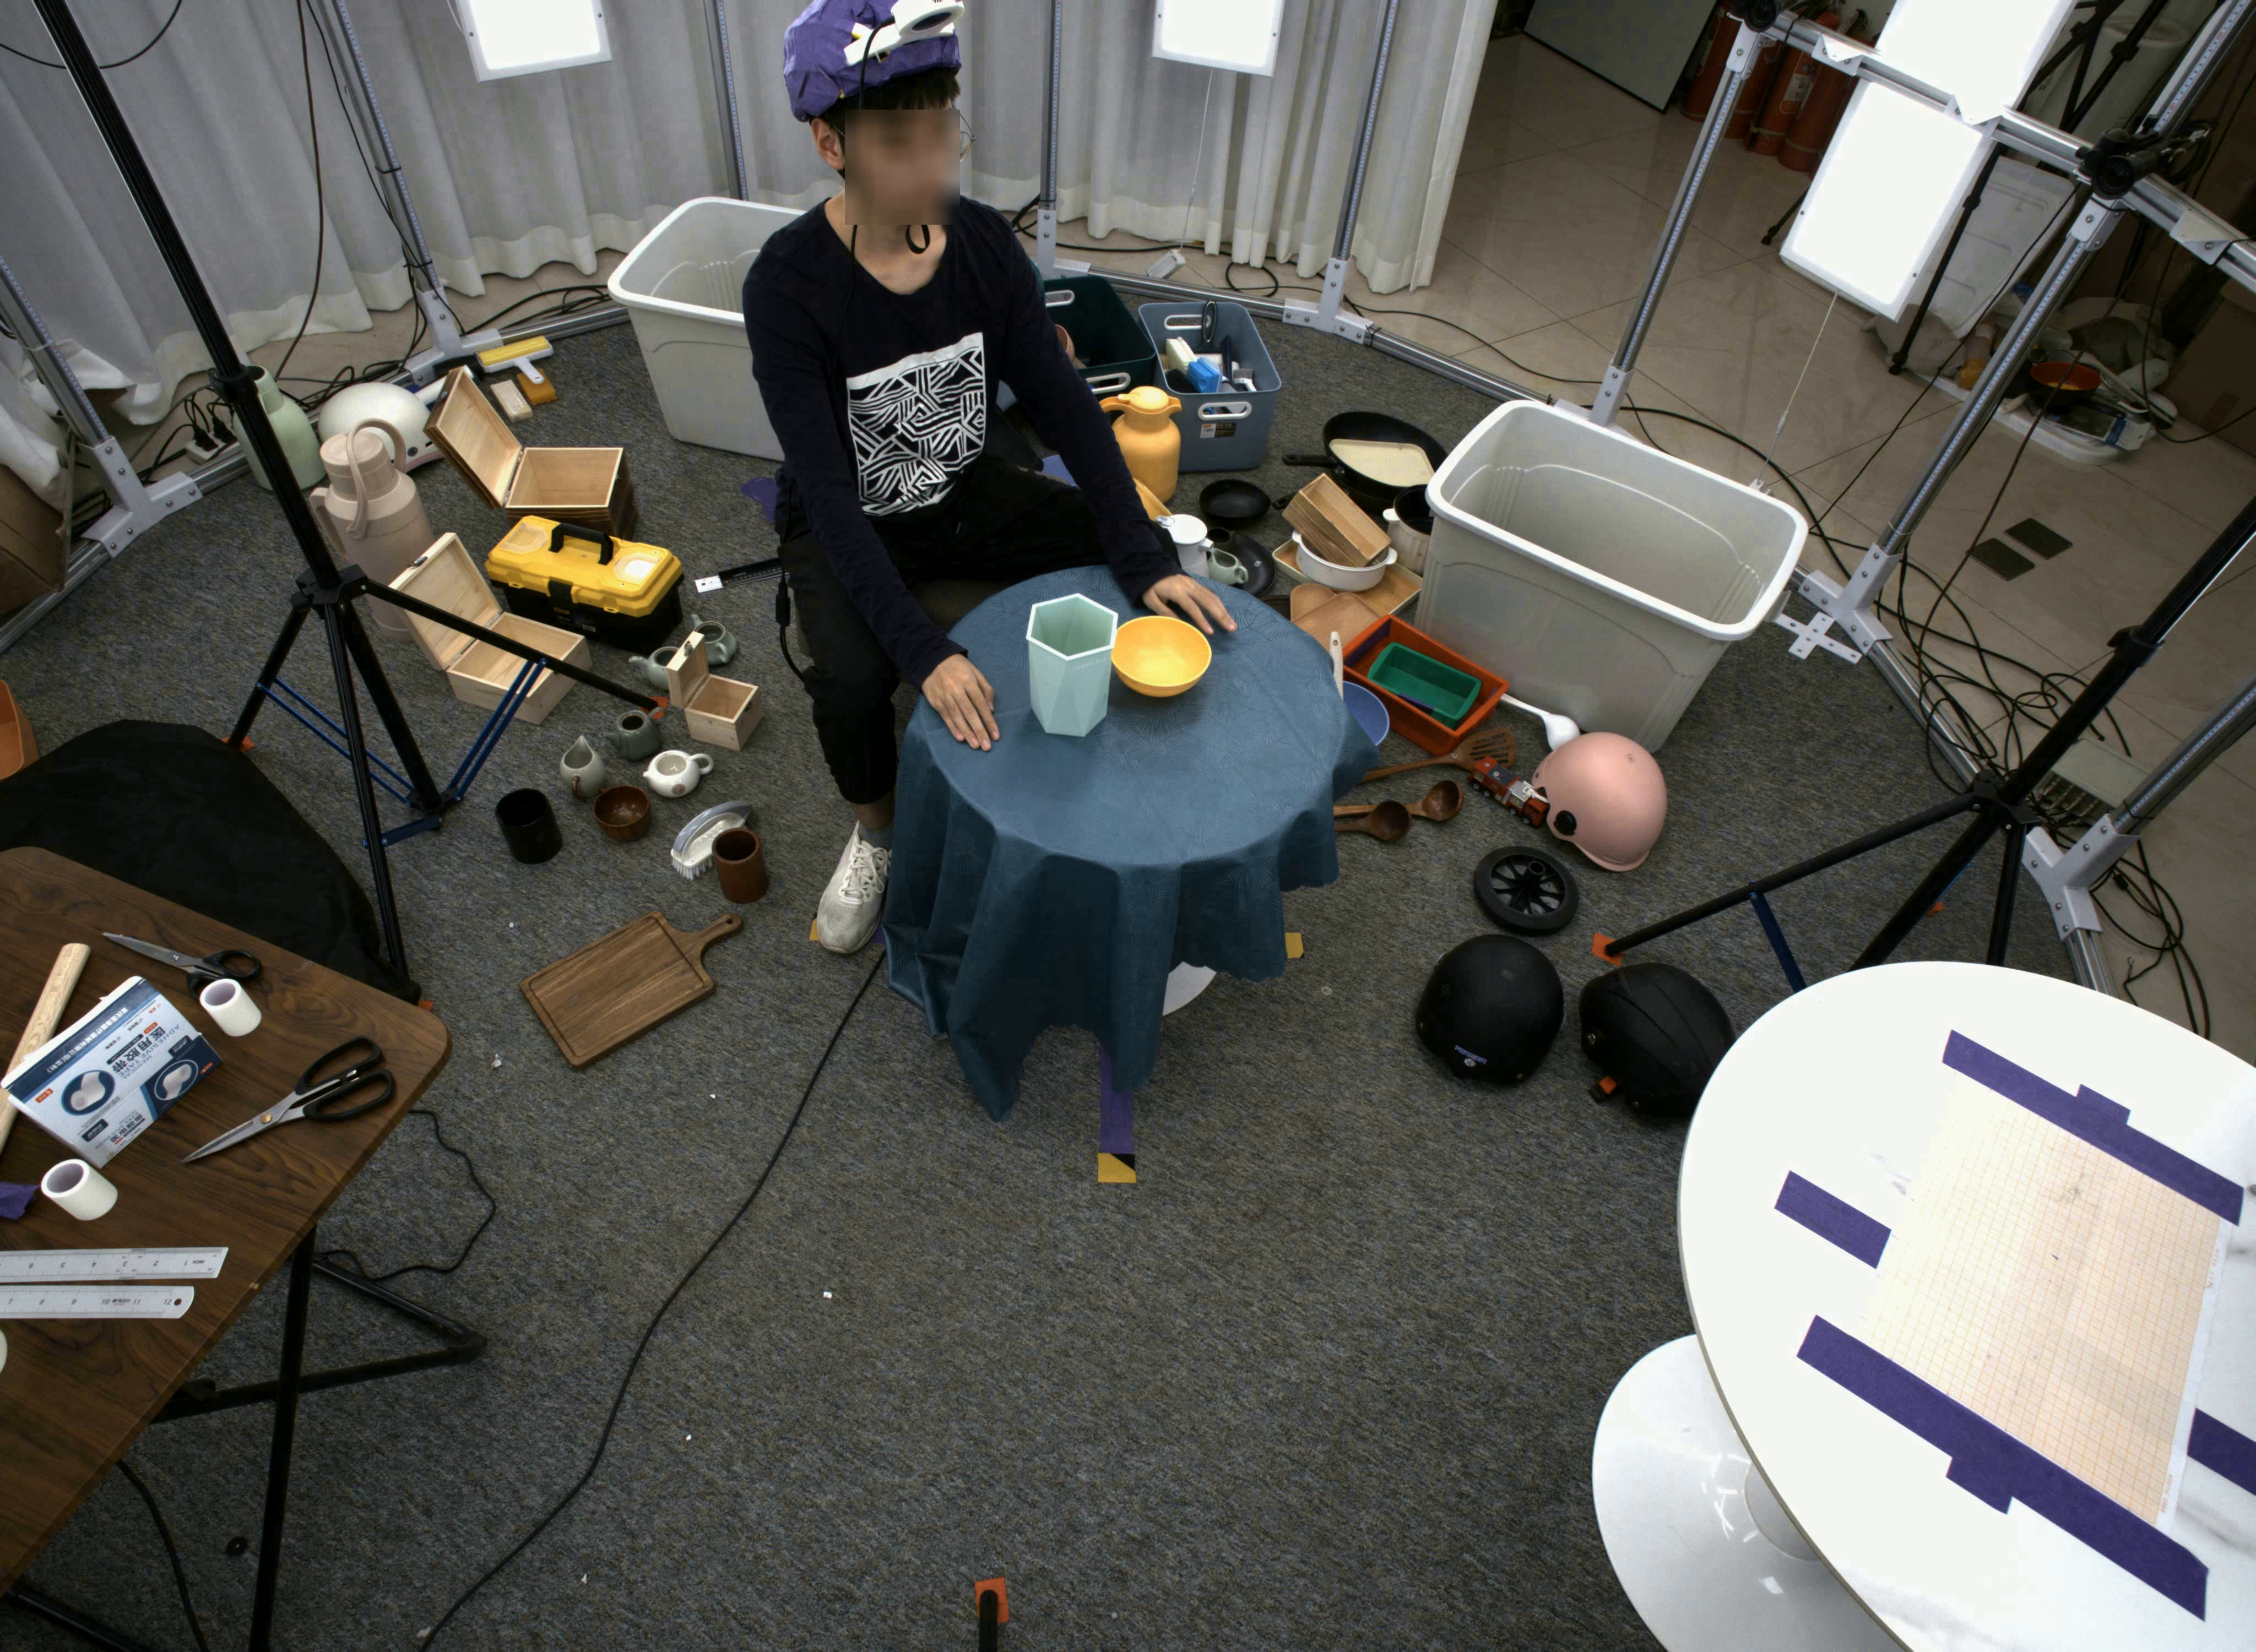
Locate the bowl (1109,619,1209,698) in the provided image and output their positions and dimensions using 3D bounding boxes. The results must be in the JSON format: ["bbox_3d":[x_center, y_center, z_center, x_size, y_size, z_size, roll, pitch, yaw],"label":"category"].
[{"bbox_3d":[0.041,-0.228,1.835,0.145,0.058,0.149,2,46,-2],"label":"bowl"}]

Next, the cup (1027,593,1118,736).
[{"bbox_3d":[-0.076,-0.213,1.741,0.131,0.159,0.118,-18,51,-20],"label":"cup"}]
